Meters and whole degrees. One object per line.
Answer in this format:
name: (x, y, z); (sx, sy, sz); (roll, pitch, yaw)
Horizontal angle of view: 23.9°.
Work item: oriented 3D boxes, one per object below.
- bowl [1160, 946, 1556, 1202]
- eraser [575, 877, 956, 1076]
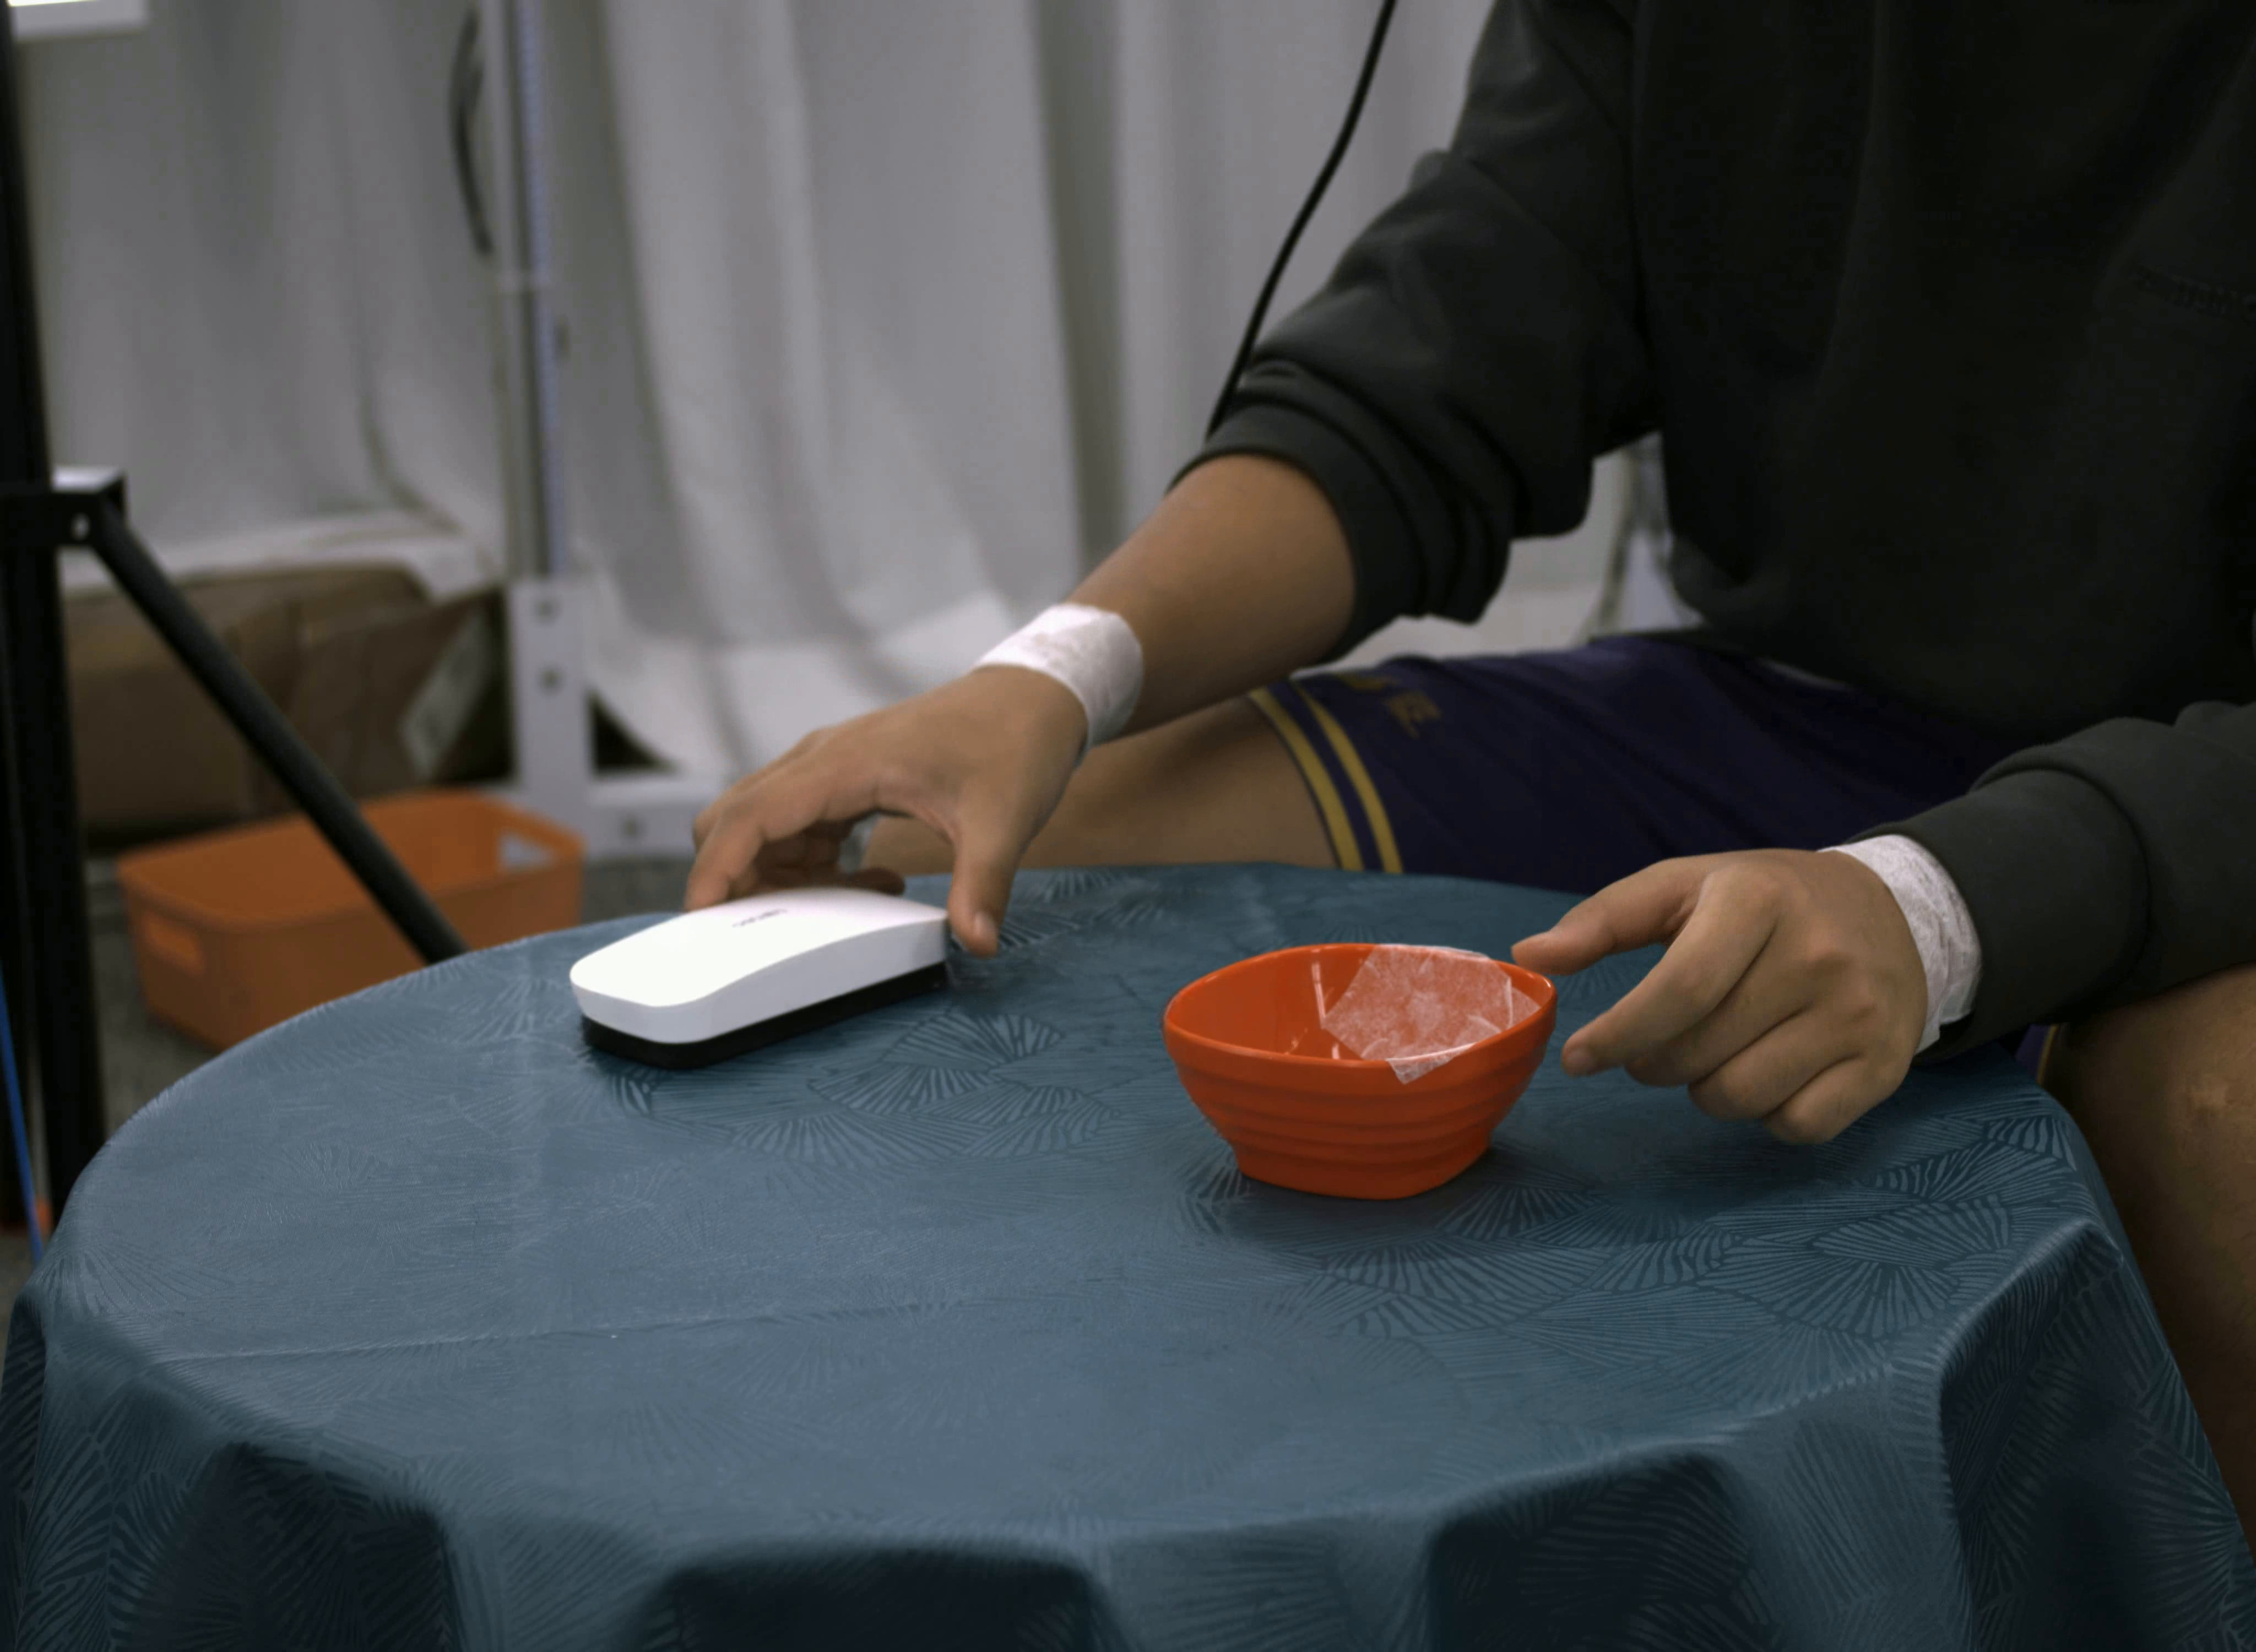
bowl: (0.069, 0.076, 1.570); (0.118, 0.051, 0.119); (-3, 15, -1)
eraser: (-0.116, 0.046, 1.740); (0.128, 0.034, 0.065); (-19, 24, -41)
